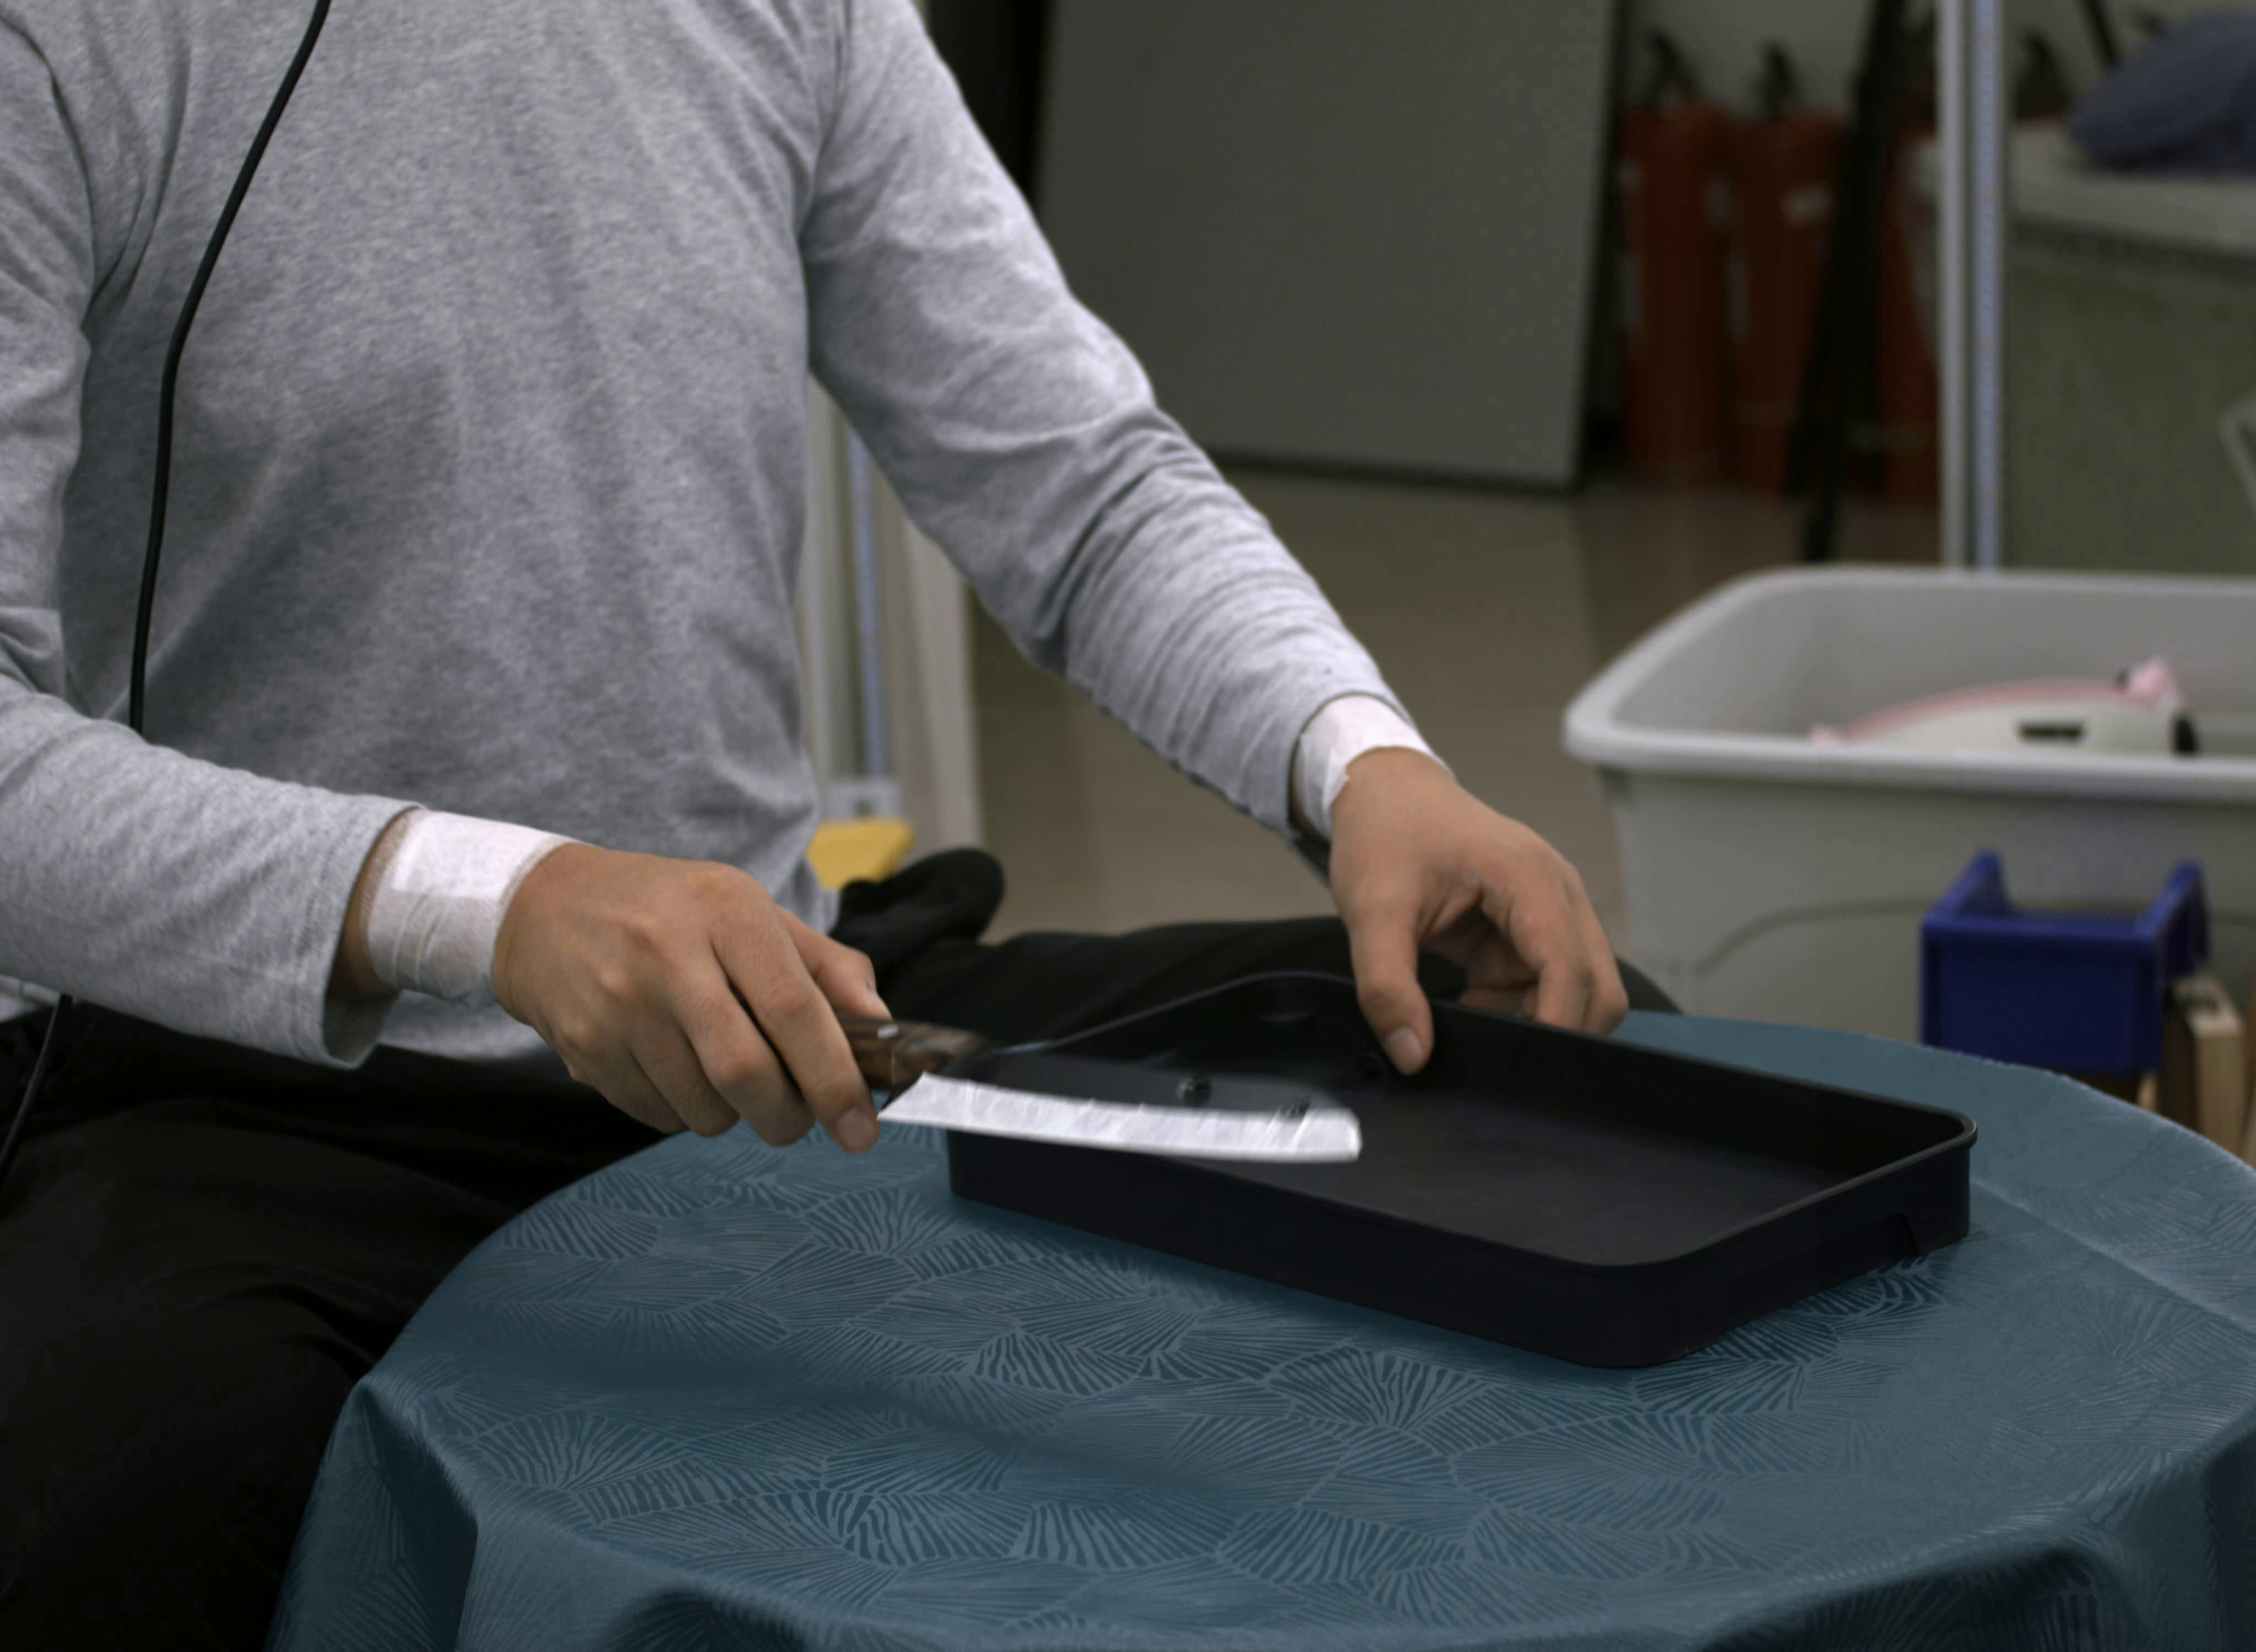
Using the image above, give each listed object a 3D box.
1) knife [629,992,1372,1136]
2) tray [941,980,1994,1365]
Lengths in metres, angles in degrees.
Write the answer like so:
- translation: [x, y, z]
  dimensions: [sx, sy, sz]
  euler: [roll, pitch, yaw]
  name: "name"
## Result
- translation: [-0.042, 0.072, 1.588]
  dimensions: [0.291, 0.020, 0.049]
  euler: [5, 34, 40]
  name: "knife"
- translation: [0.105, 0.106, 1.727]
  dimensions: [0.321, 0.037, 0.180]
  euler: [9, 19, 44]
  name: "tray"
